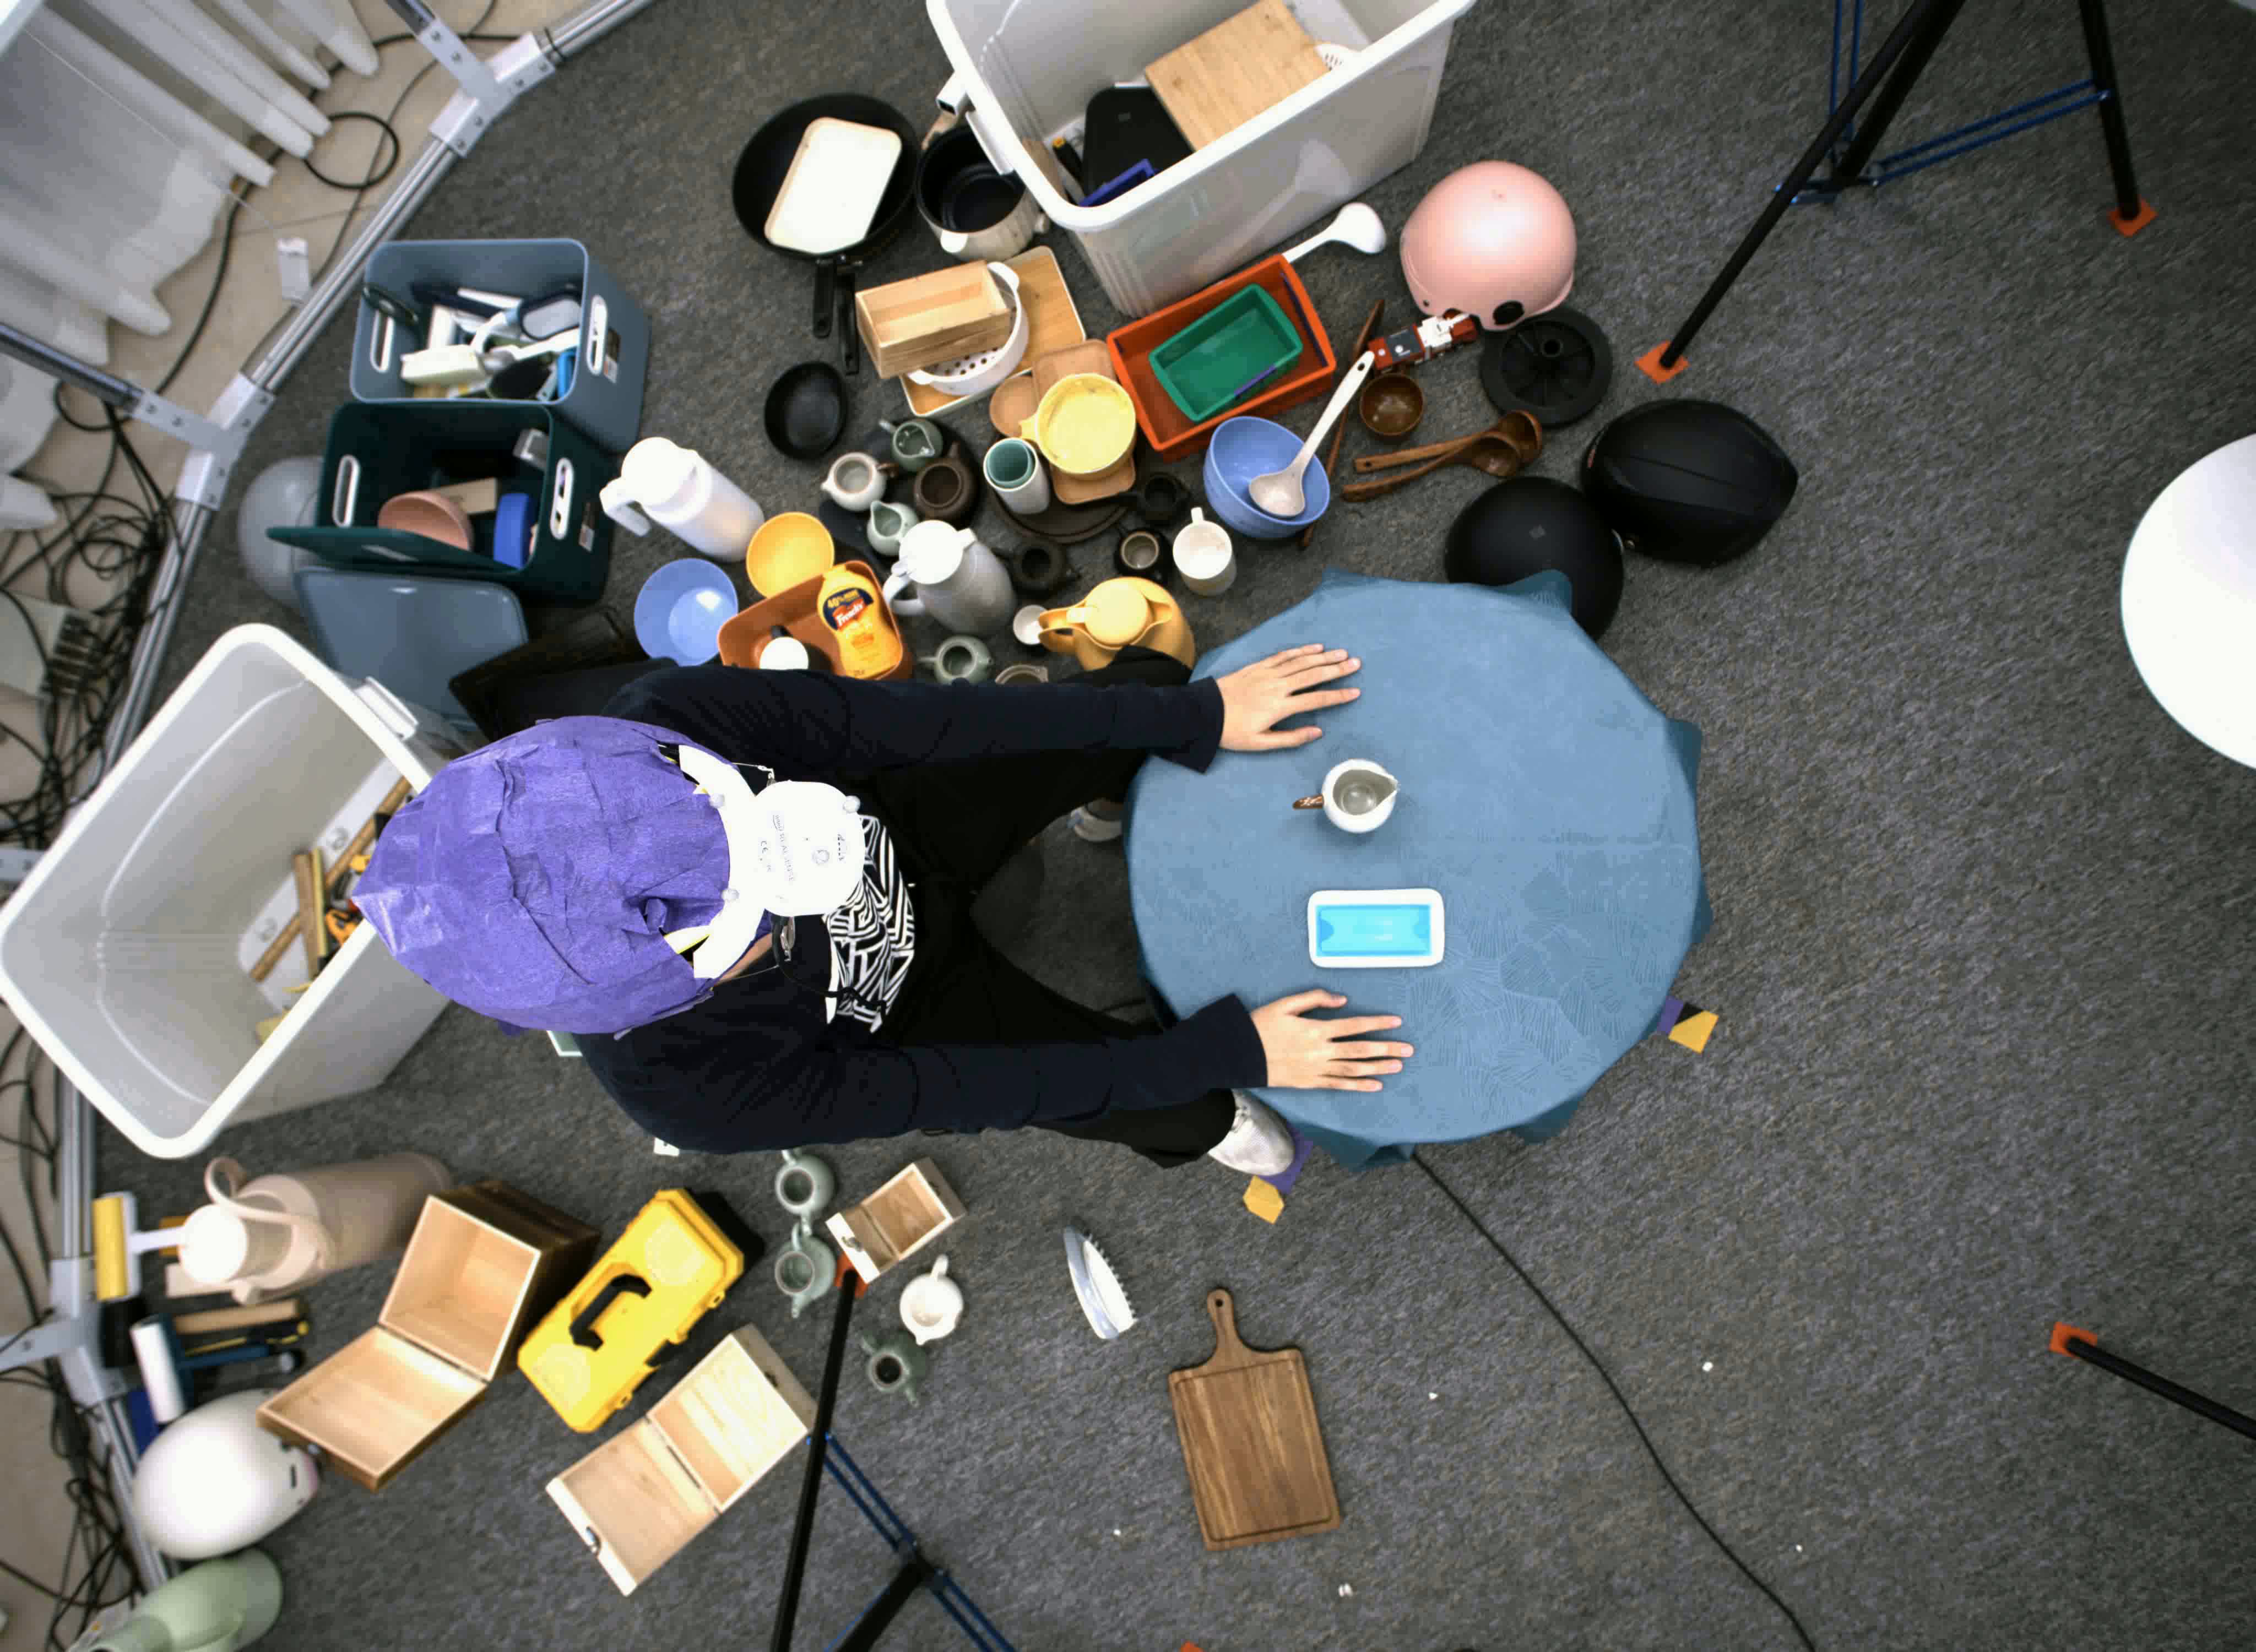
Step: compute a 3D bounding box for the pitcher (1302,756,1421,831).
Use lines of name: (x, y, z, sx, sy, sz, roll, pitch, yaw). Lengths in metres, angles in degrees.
pitcher: (0.239, -0.033, 1.425, 0.119, 0.088, 0.075, -4, 80, 6)

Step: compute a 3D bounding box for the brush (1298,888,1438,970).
brush: (0.249, 0.105, 1.431, 0.144, 0.056, 0.083, 2, 84, 8)
